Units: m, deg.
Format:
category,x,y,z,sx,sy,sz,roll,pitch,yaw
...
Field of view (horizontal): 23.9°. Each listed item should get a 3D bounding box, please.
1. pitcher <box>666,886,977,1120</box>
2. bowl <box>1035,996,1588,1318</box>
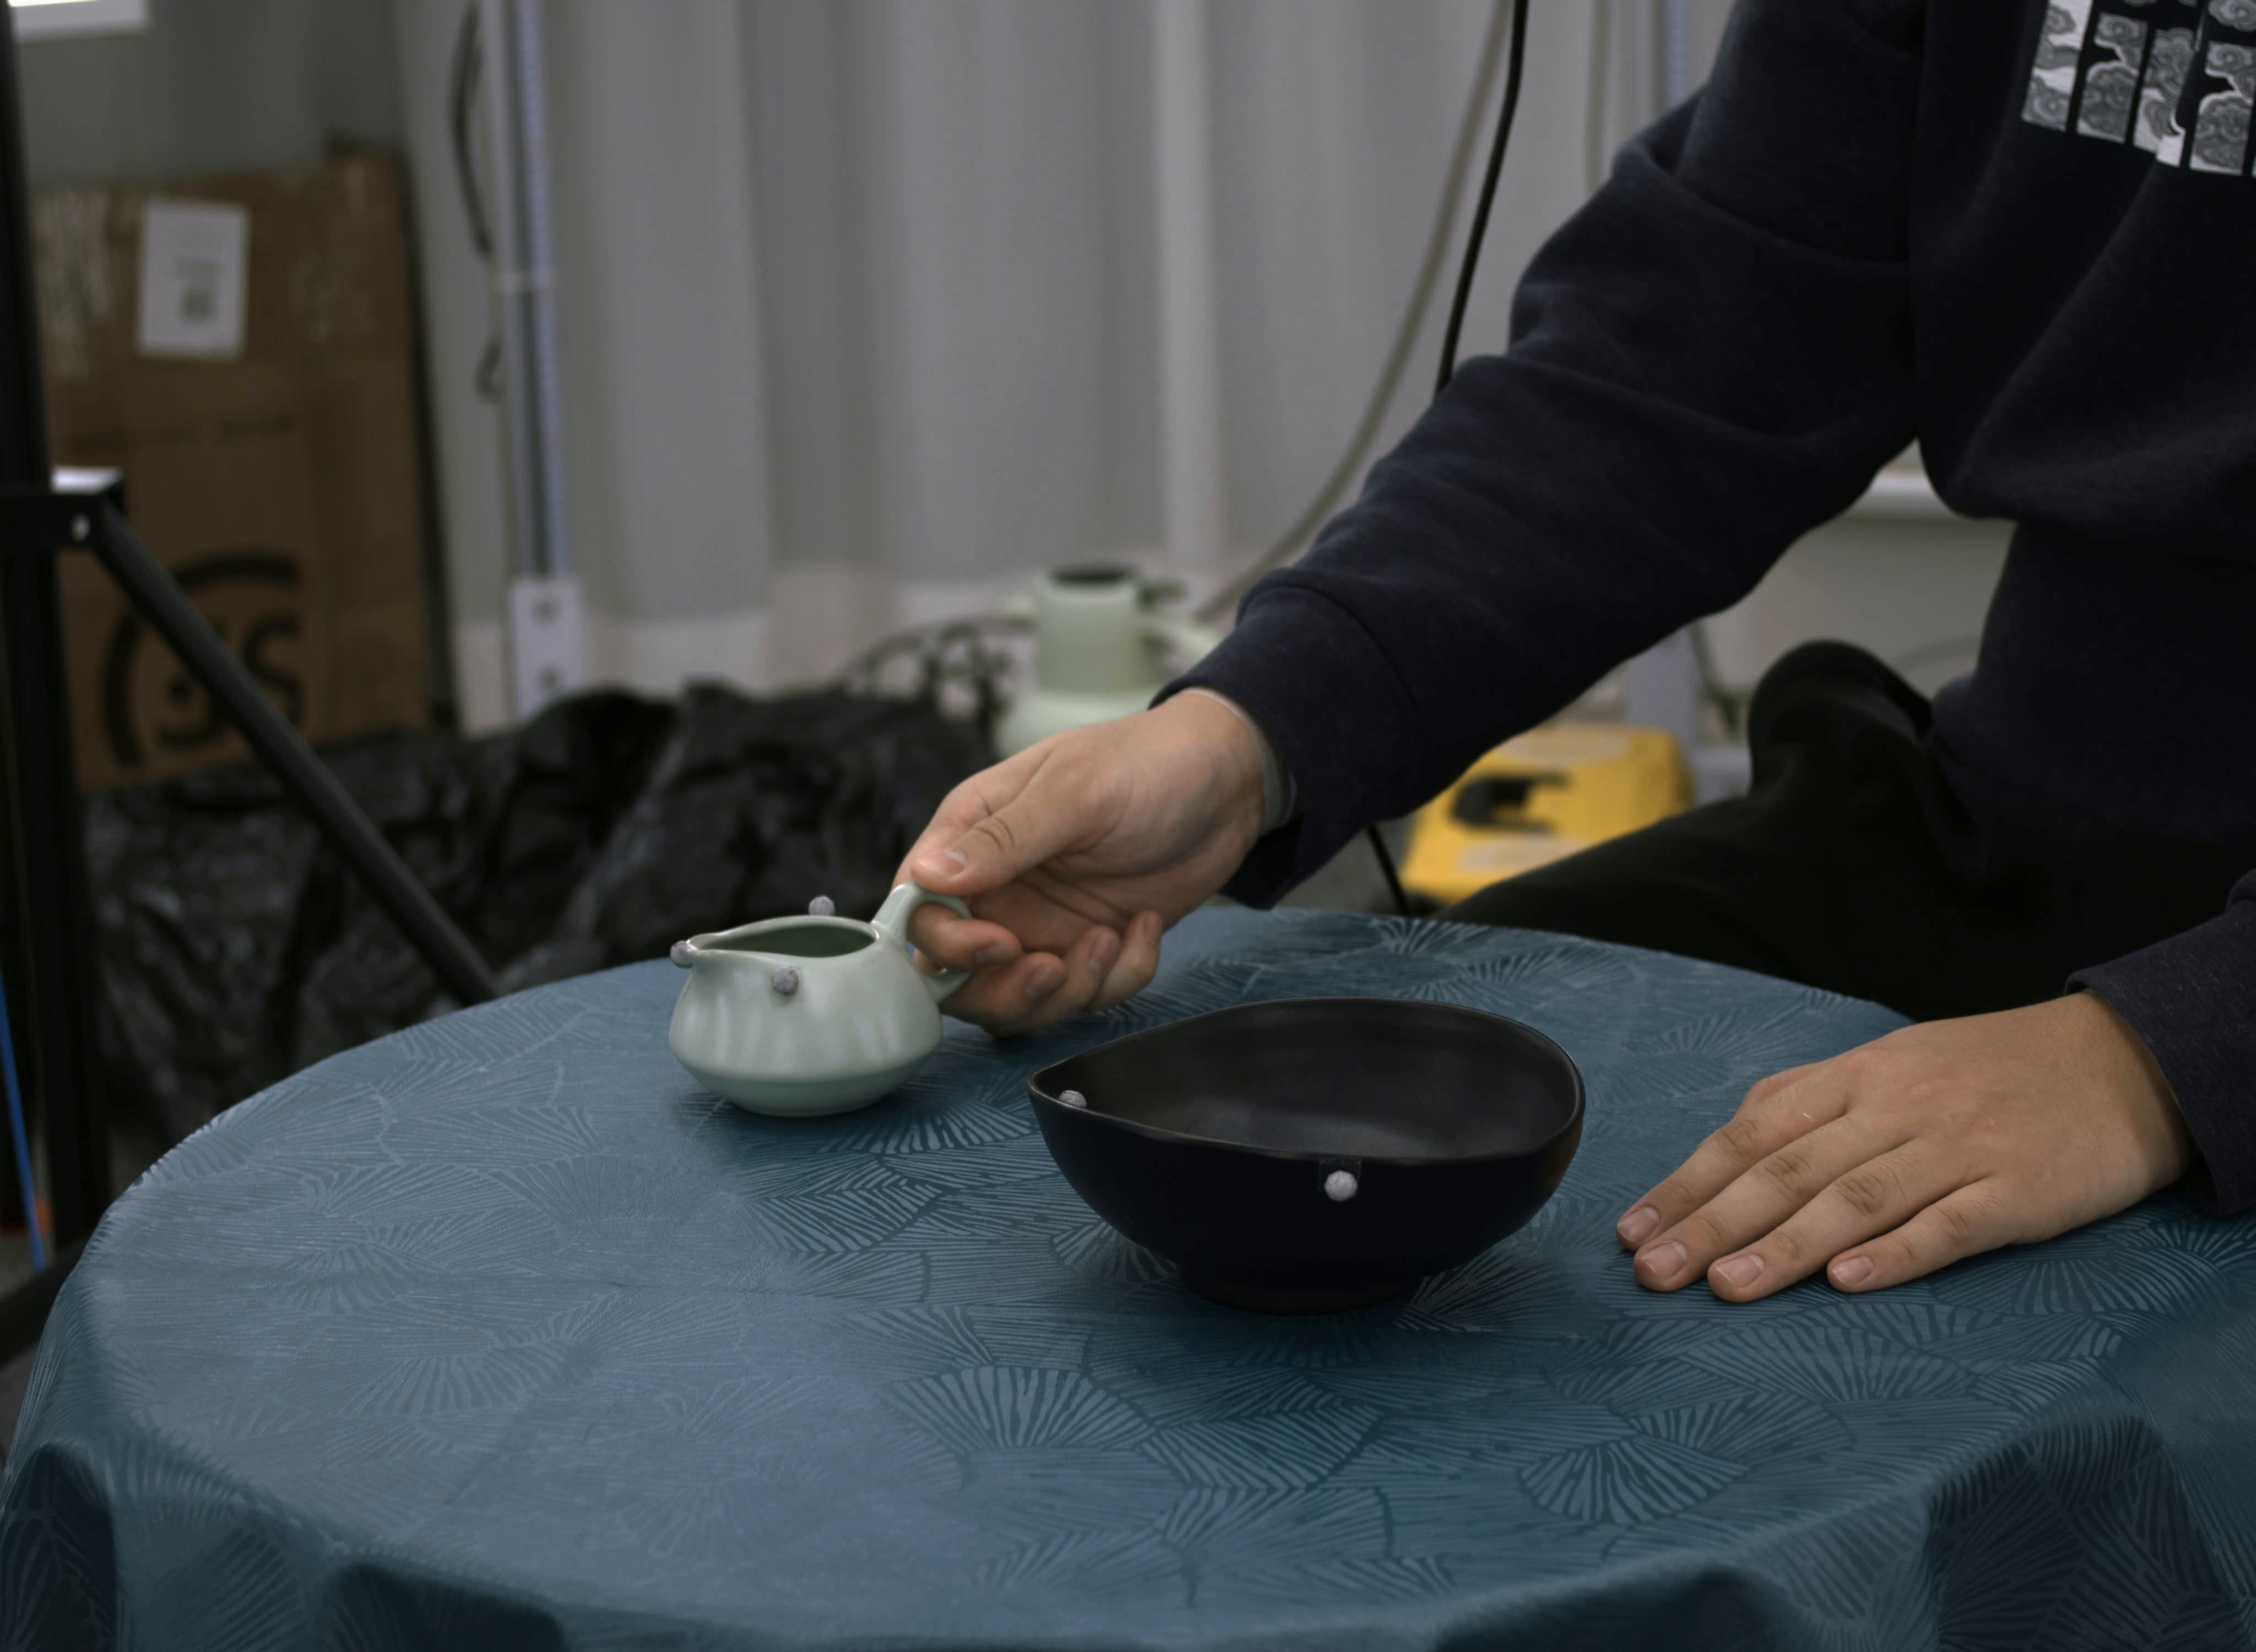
category,x,y,z,sx,sy,sz,roll,pitch,yaw
pitcher,-0.092,0.054,1.658,0.105,0.060,0.088,-12,19,-37
bowl,0.049,0.096,1.476,0.174,0.067,0.134,10,19,40
